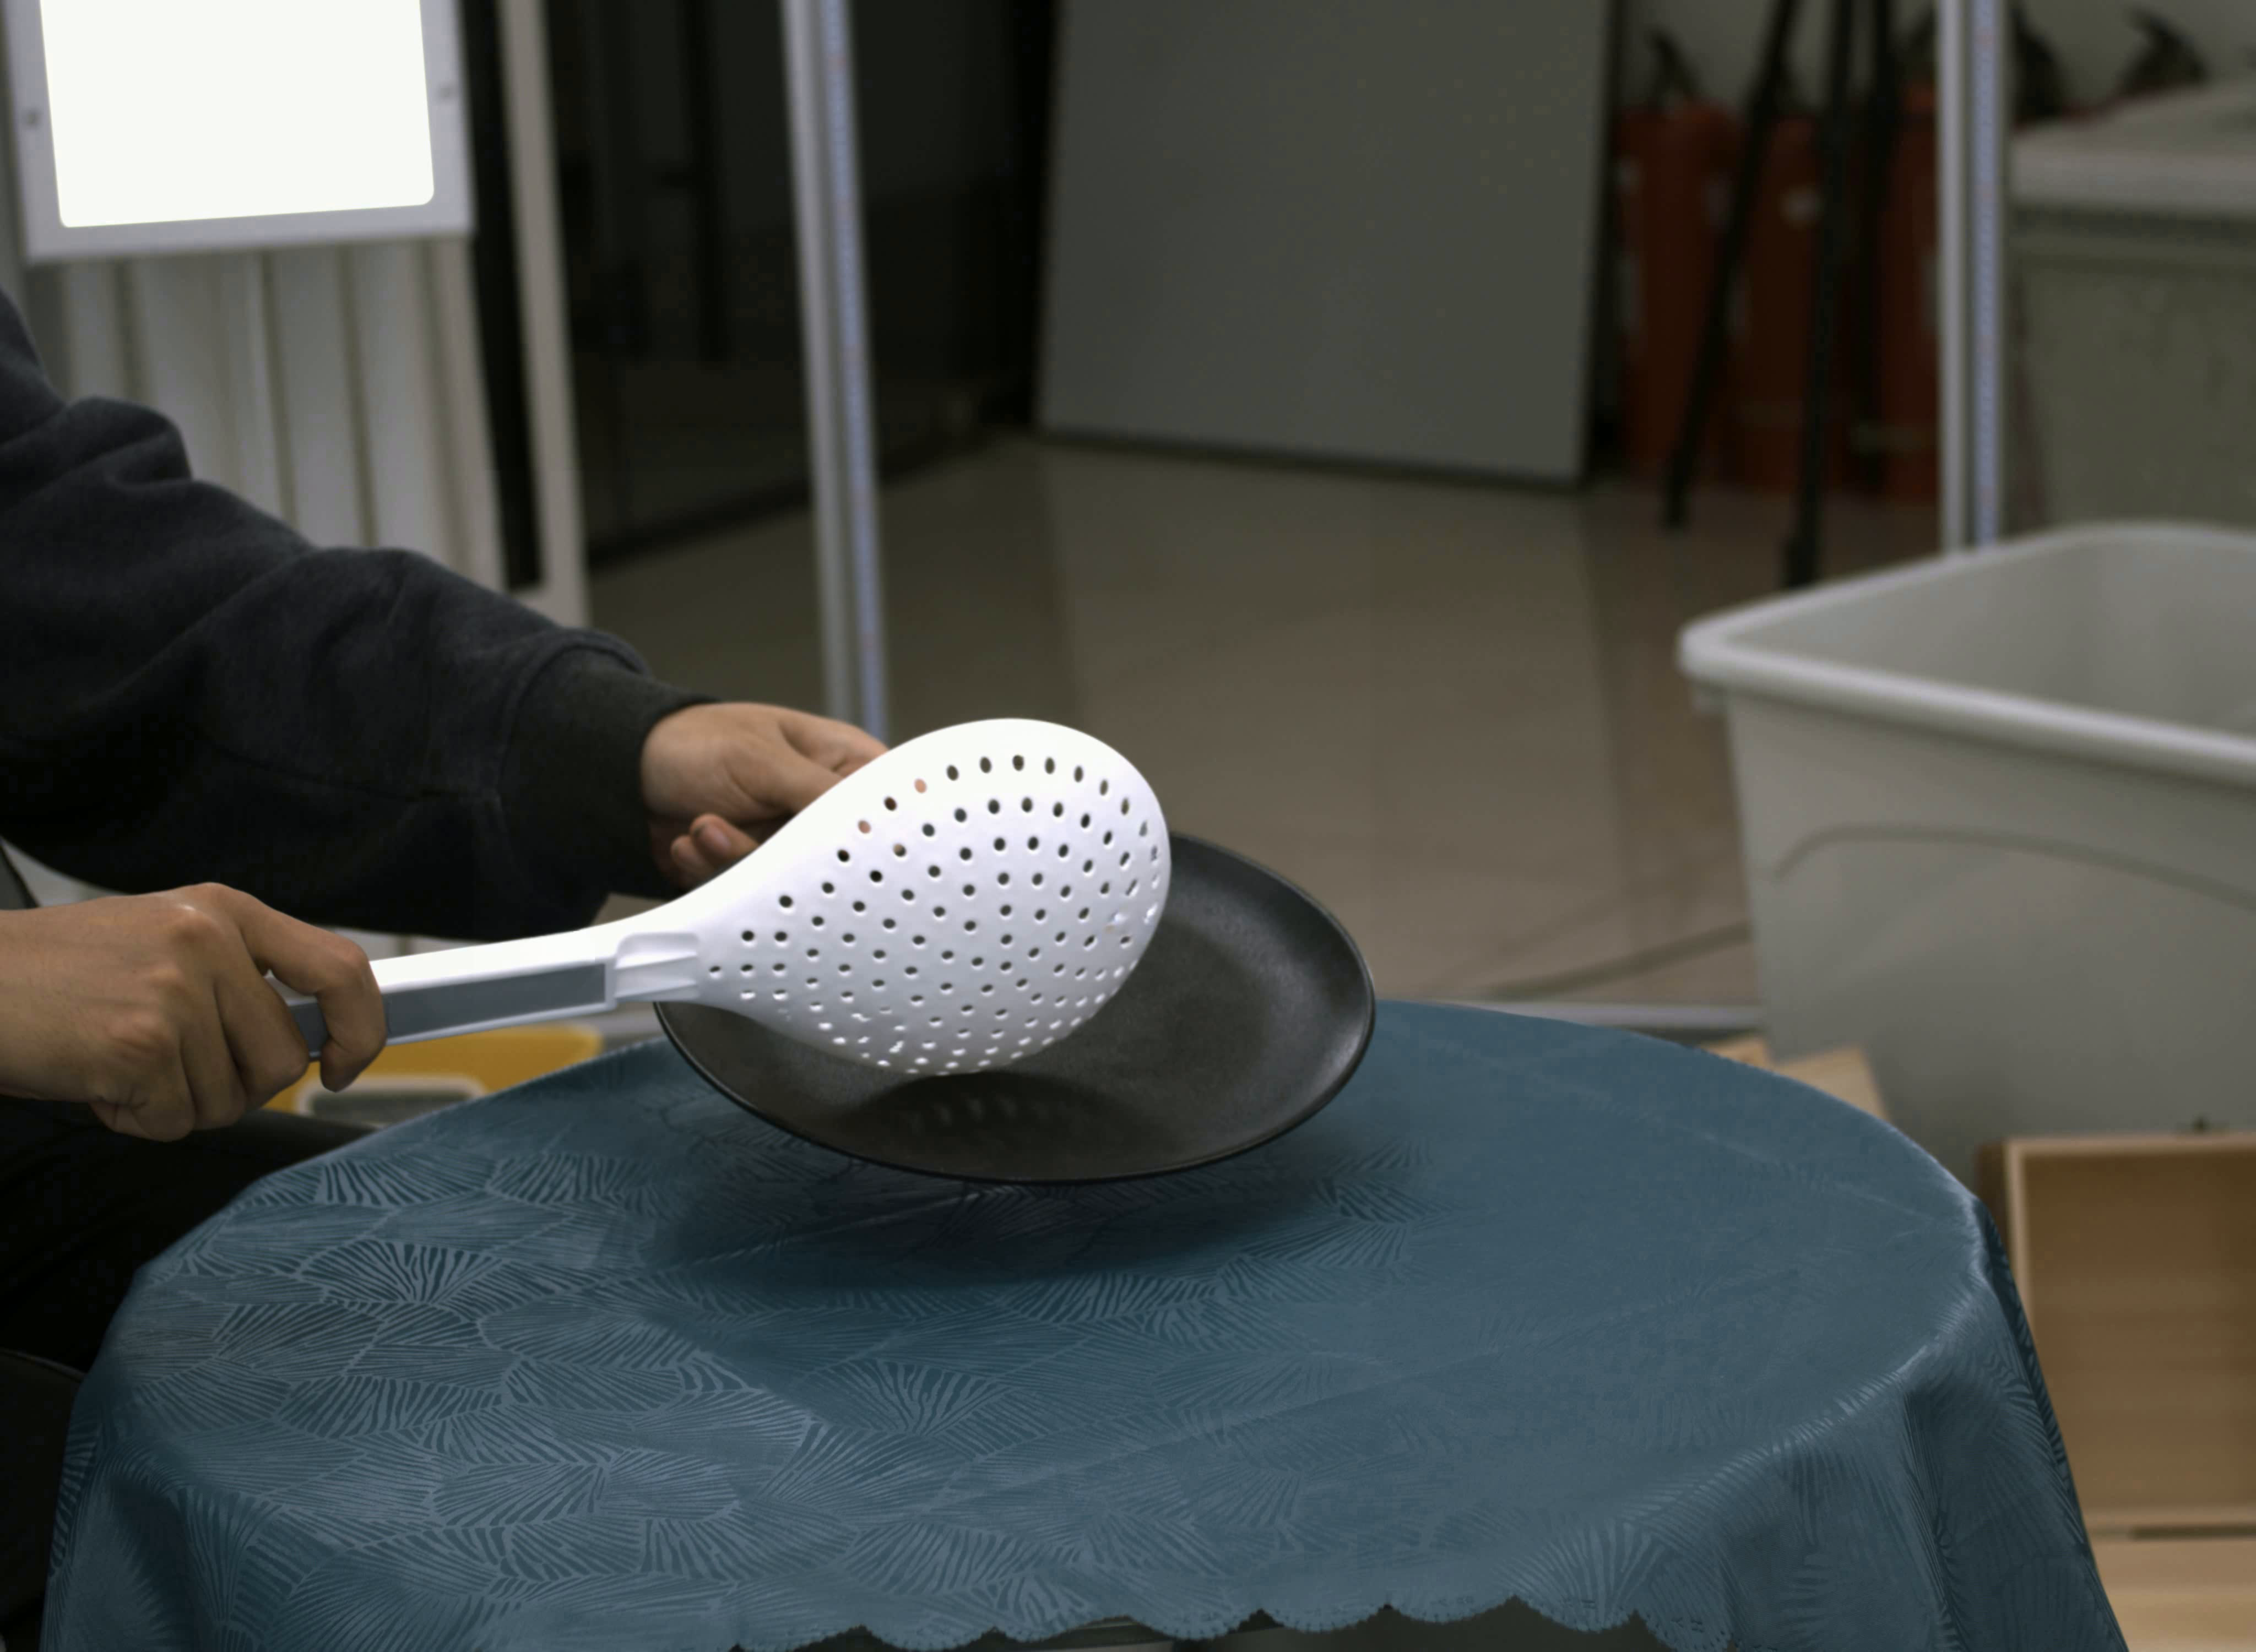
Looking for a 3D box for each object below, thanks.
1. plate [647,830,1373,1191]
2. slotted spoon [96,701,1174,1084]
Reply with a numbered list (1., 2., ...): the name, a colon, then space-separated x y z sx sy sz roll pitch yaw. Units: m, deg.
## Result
1. plate: -0.039 0.062 1.789 0.241 0.023 0.245 2 29 -2
2. slotted spoon: -0.147 0.039 1.686 0.343 0.137 0.046 -6 31 -12
